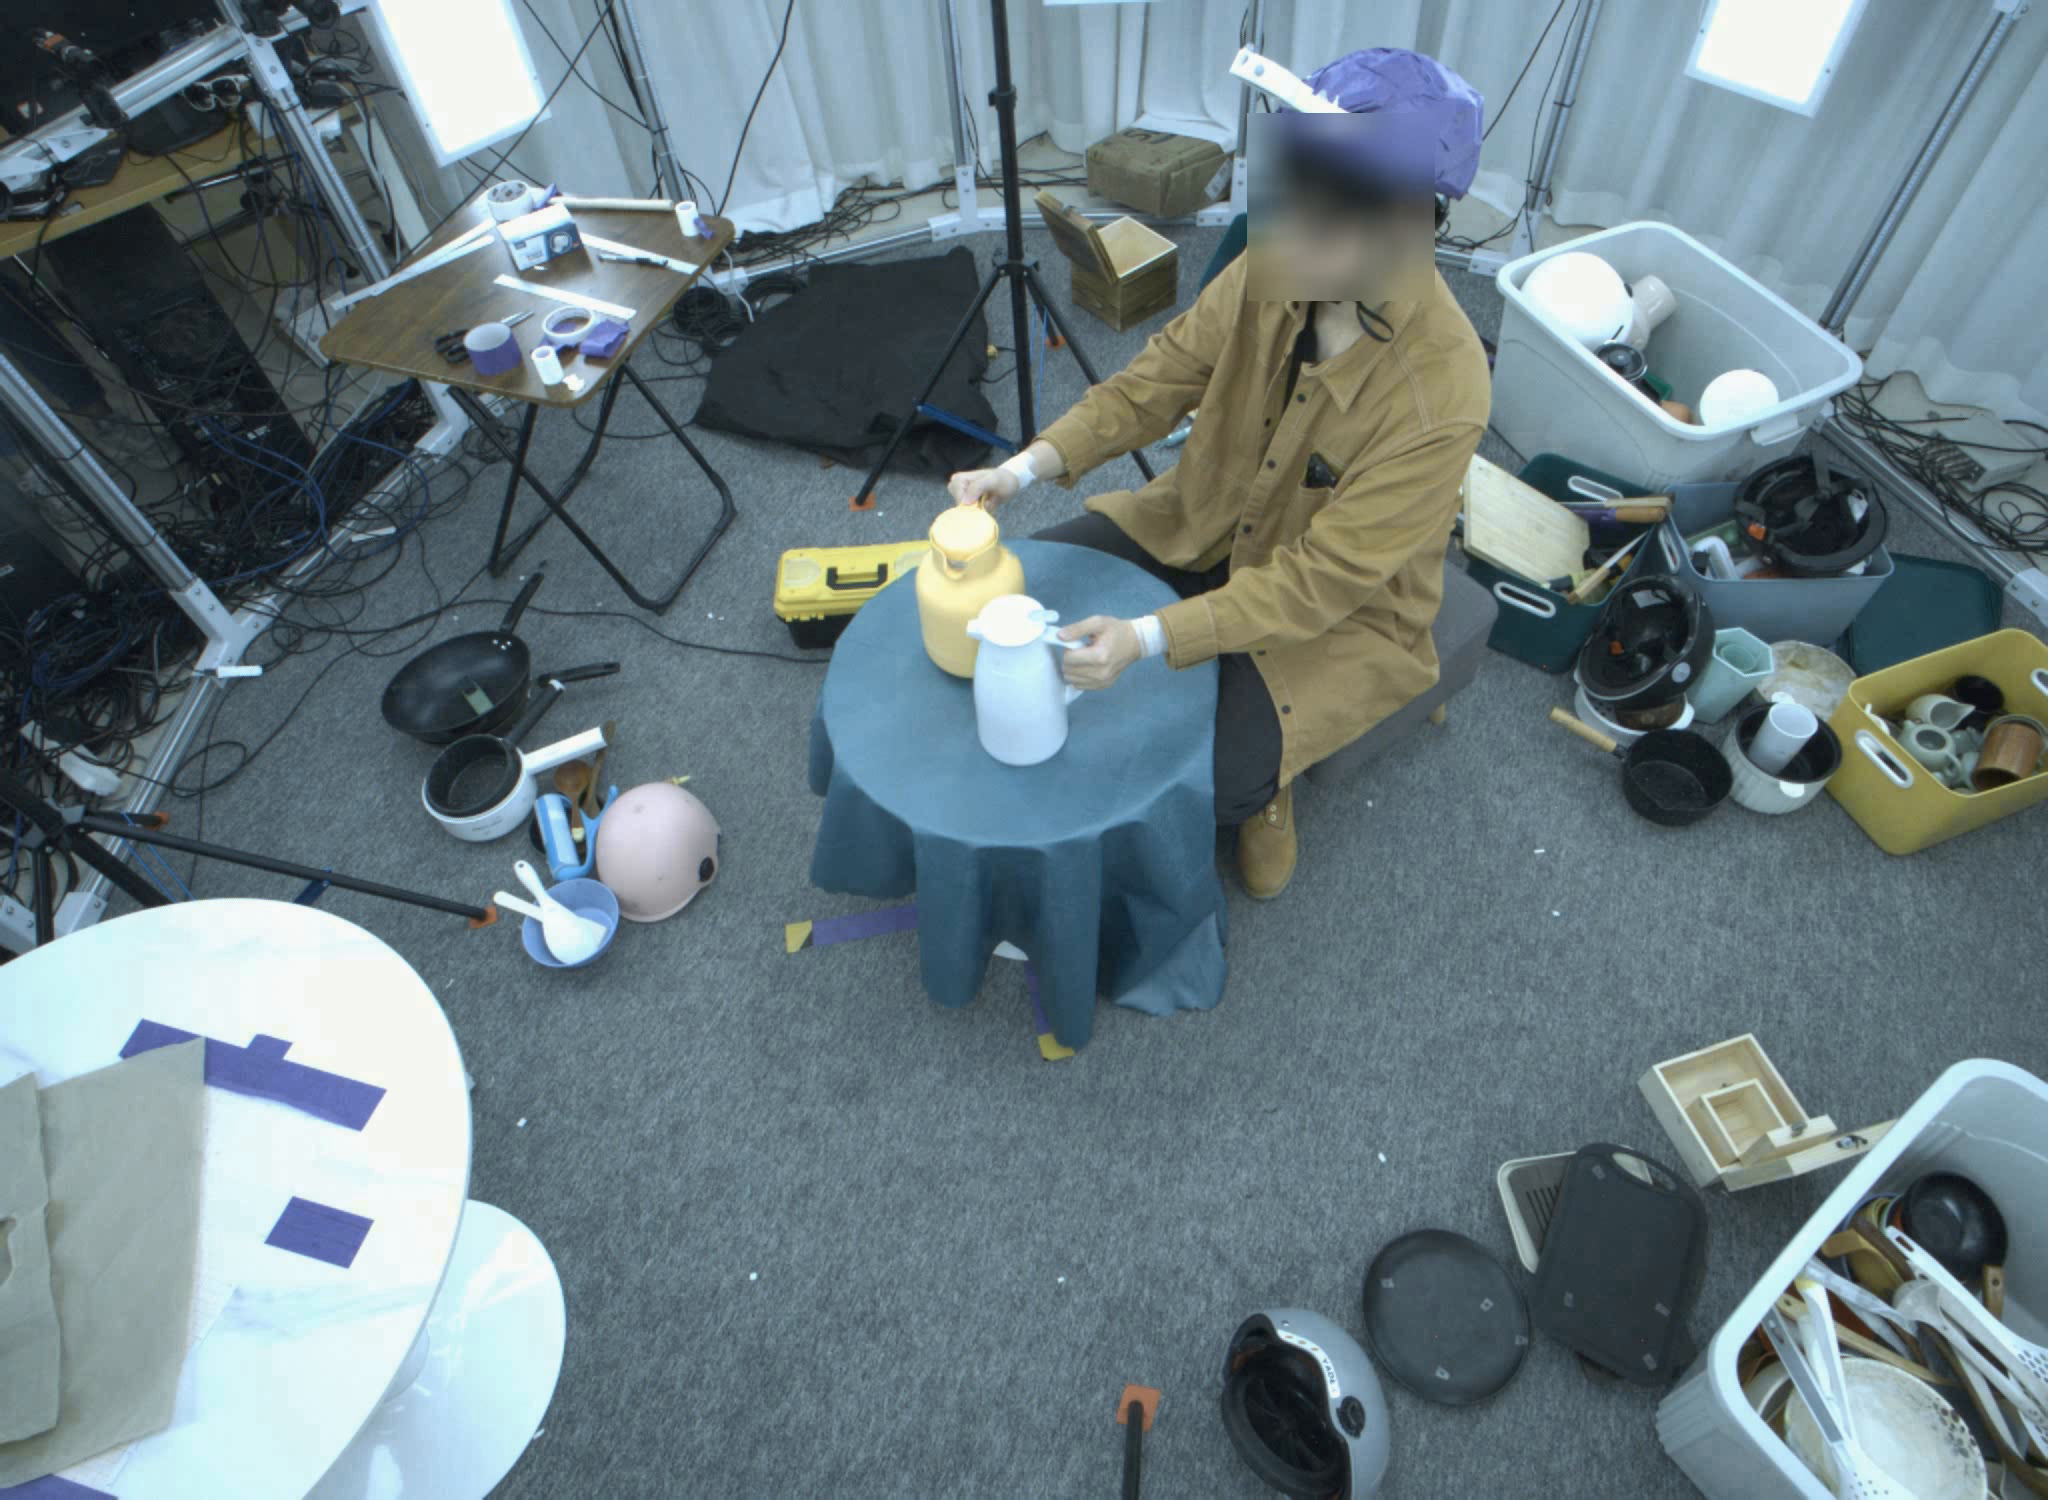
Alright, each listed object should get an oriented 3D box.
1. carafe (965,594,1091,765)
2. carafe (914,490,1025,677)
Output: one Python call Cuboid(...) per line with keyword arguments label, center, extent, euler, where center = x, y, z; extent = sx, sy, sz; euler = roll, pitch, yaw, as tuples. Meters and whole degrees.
Cuboid(label="carafe", center=(0.009, -0.104, 1.703), extent=(0.167, 0.251, 0.131), euler=(1, 54, 3))
Cuboid(label="carafe", center=(-0.075, -0.252, 1.805), extent=(0.163, 0.263, 0.201), euler=(9, 56, 7))
